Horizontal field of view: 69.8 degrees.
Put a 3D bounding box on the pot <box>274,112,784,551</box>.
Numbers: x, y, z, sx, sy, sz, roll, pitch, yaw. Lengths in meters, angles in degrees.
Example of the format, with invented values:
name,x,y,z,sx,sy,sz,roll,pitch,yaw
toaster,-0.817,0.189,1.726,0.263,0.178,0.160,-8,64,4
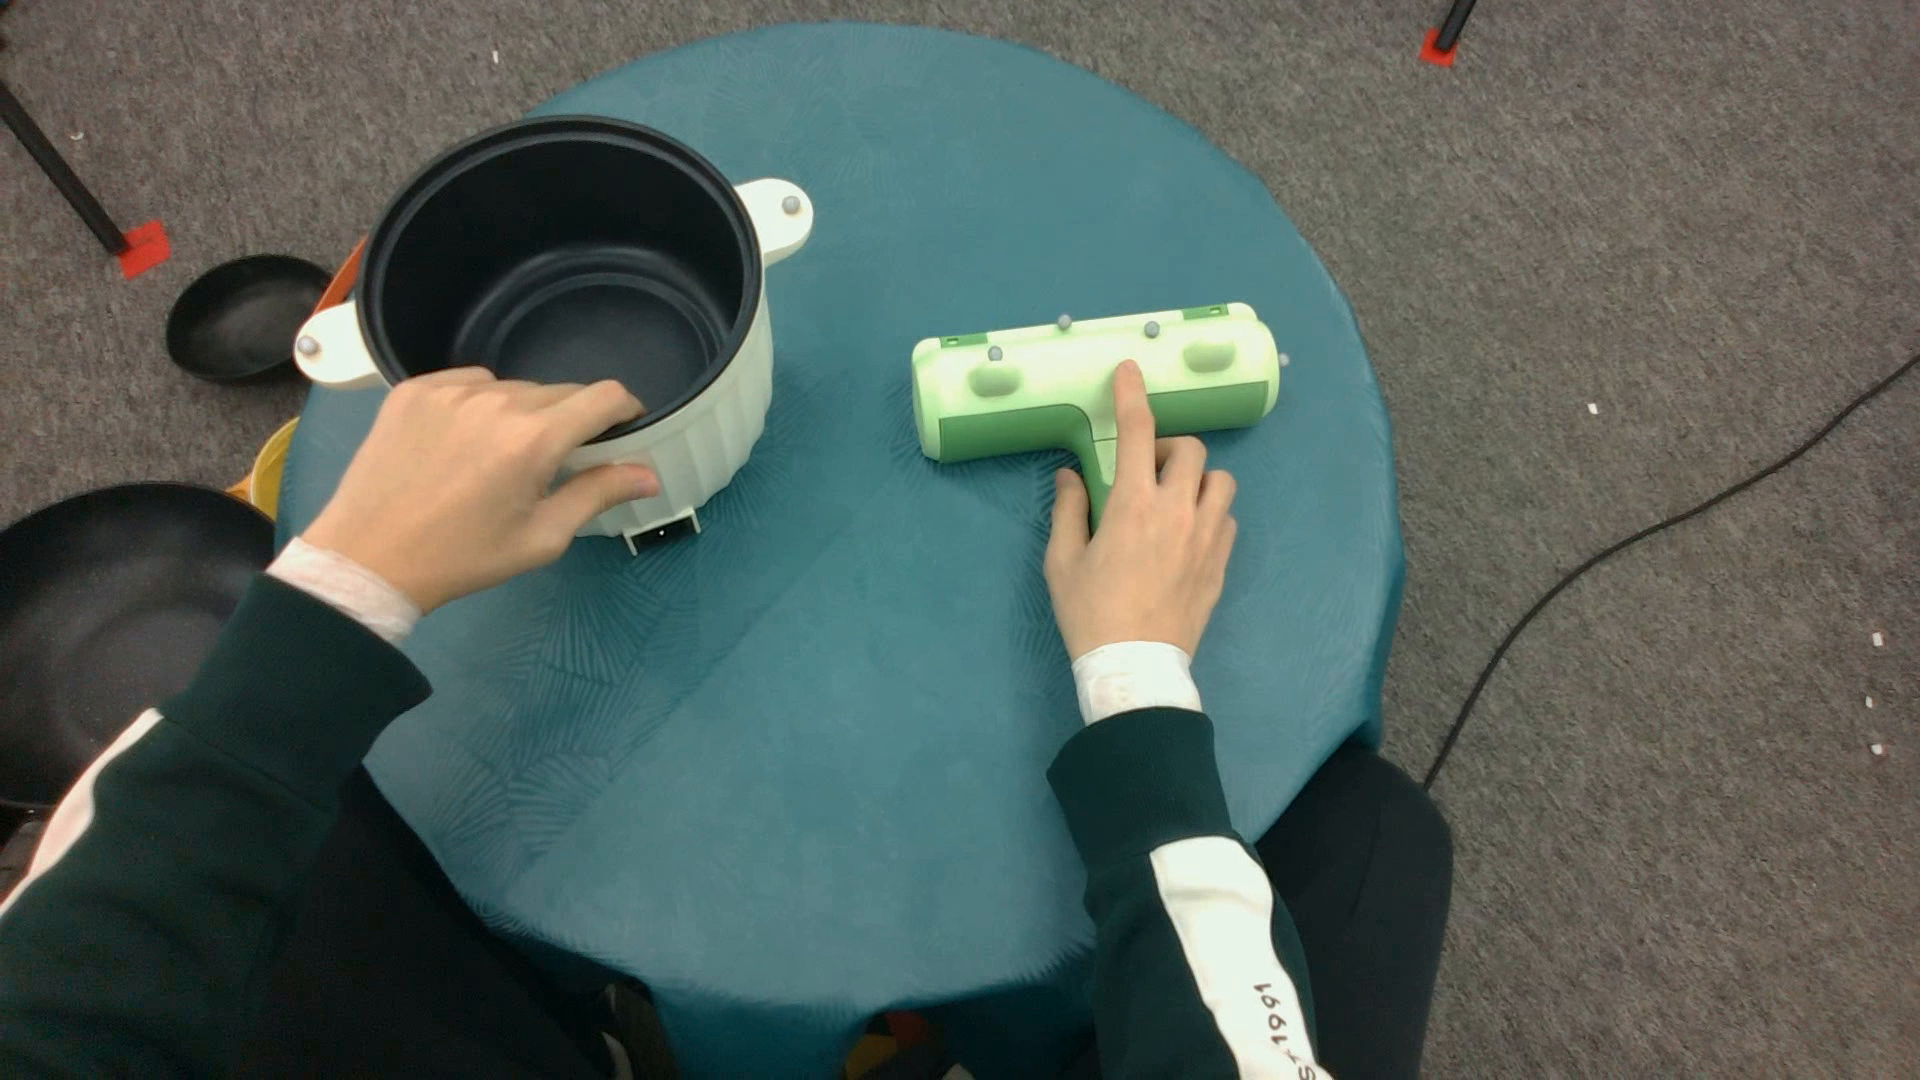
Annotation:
name,x,y,z,sx,sy,sz,roll,pitch,yaw
pot,-0.200,-0.102,0.690,0.241,0.142,0.191,-22,73,-14

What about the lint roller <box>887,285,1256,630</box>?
name,x,y,z,sx,sy,sz,roll,pitch,yaw
lint roller,0.071,-0.049,0.716,0.199,0.082,0.184,-8,61,-7
